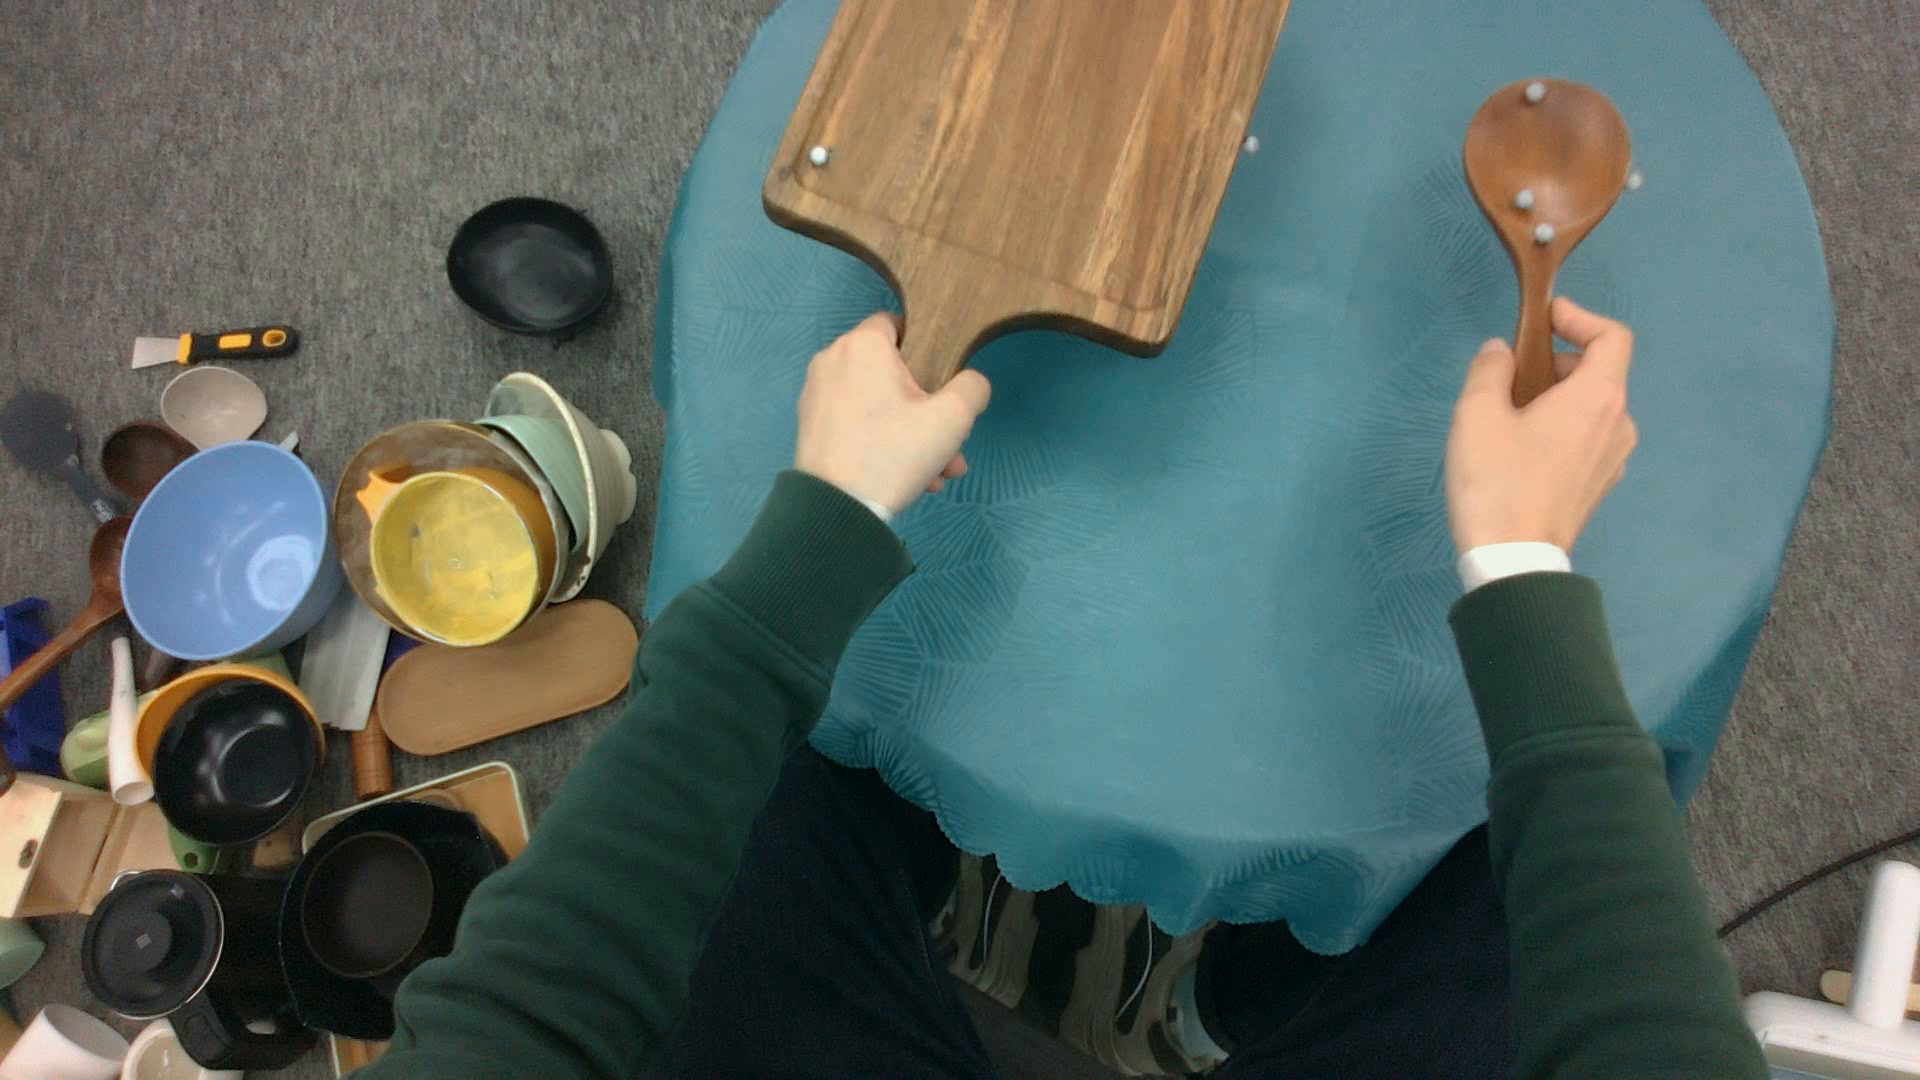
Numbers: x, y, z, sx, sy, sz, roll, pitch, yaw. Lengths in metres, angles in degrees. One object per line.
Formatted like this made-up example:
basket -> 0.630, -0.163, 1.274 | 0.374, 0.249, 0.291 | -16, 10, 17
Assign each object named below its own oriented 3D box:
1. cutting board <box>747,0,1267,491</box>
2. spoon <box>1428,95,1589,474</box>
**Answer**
cutting board -> 0.017, -0.185, 0.645 | 0.201, 0.023, 0.353 | 20, 73, 0
spoon -> 0.249, -0.123, 0.630 | 0.075, 0.017, 0.217 | 10, 62, 7
